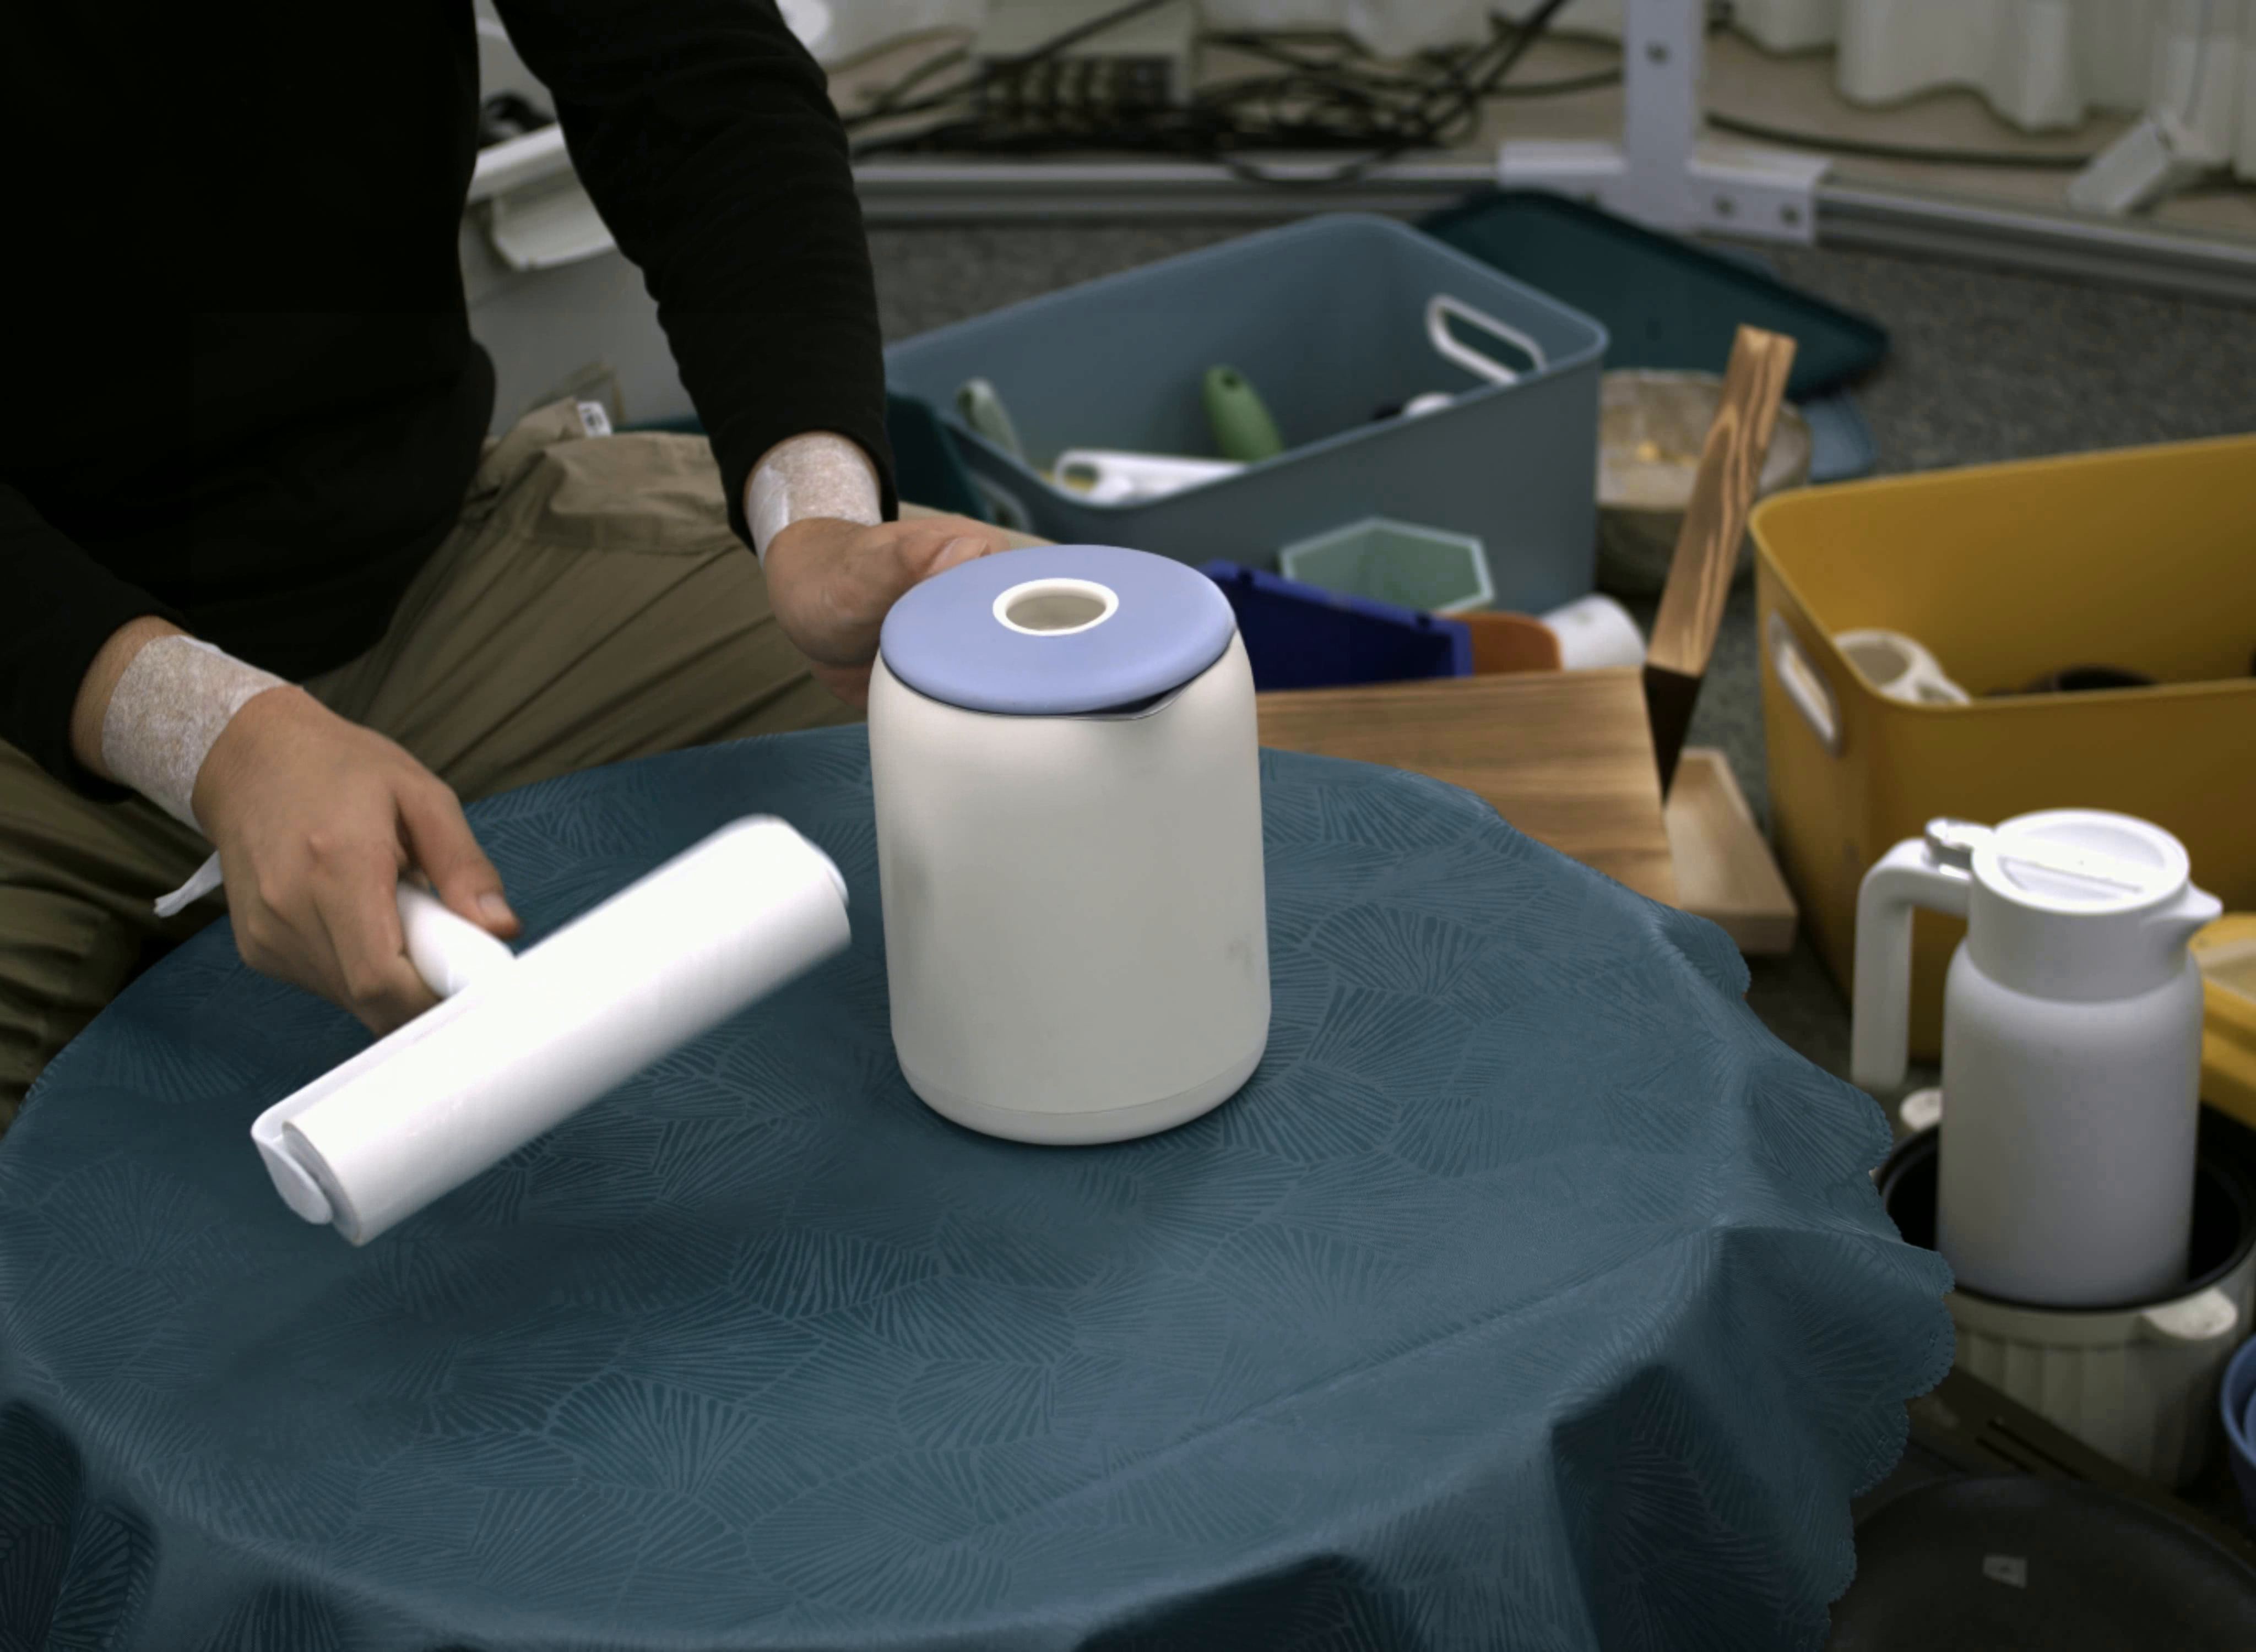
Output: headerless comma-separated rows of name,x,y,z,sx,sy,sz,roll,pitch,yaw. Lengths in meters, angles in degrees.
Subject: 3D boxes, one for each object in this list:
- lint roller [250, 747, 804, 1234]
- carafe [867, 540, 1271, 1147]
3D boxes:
lint roller,-0.226,0.044,1.871,0.205,0.048,0.224,-41,22,-18
carafe,-0.031,-0.004,1.922,0.133,0.181,0.192,-15,27,-23
